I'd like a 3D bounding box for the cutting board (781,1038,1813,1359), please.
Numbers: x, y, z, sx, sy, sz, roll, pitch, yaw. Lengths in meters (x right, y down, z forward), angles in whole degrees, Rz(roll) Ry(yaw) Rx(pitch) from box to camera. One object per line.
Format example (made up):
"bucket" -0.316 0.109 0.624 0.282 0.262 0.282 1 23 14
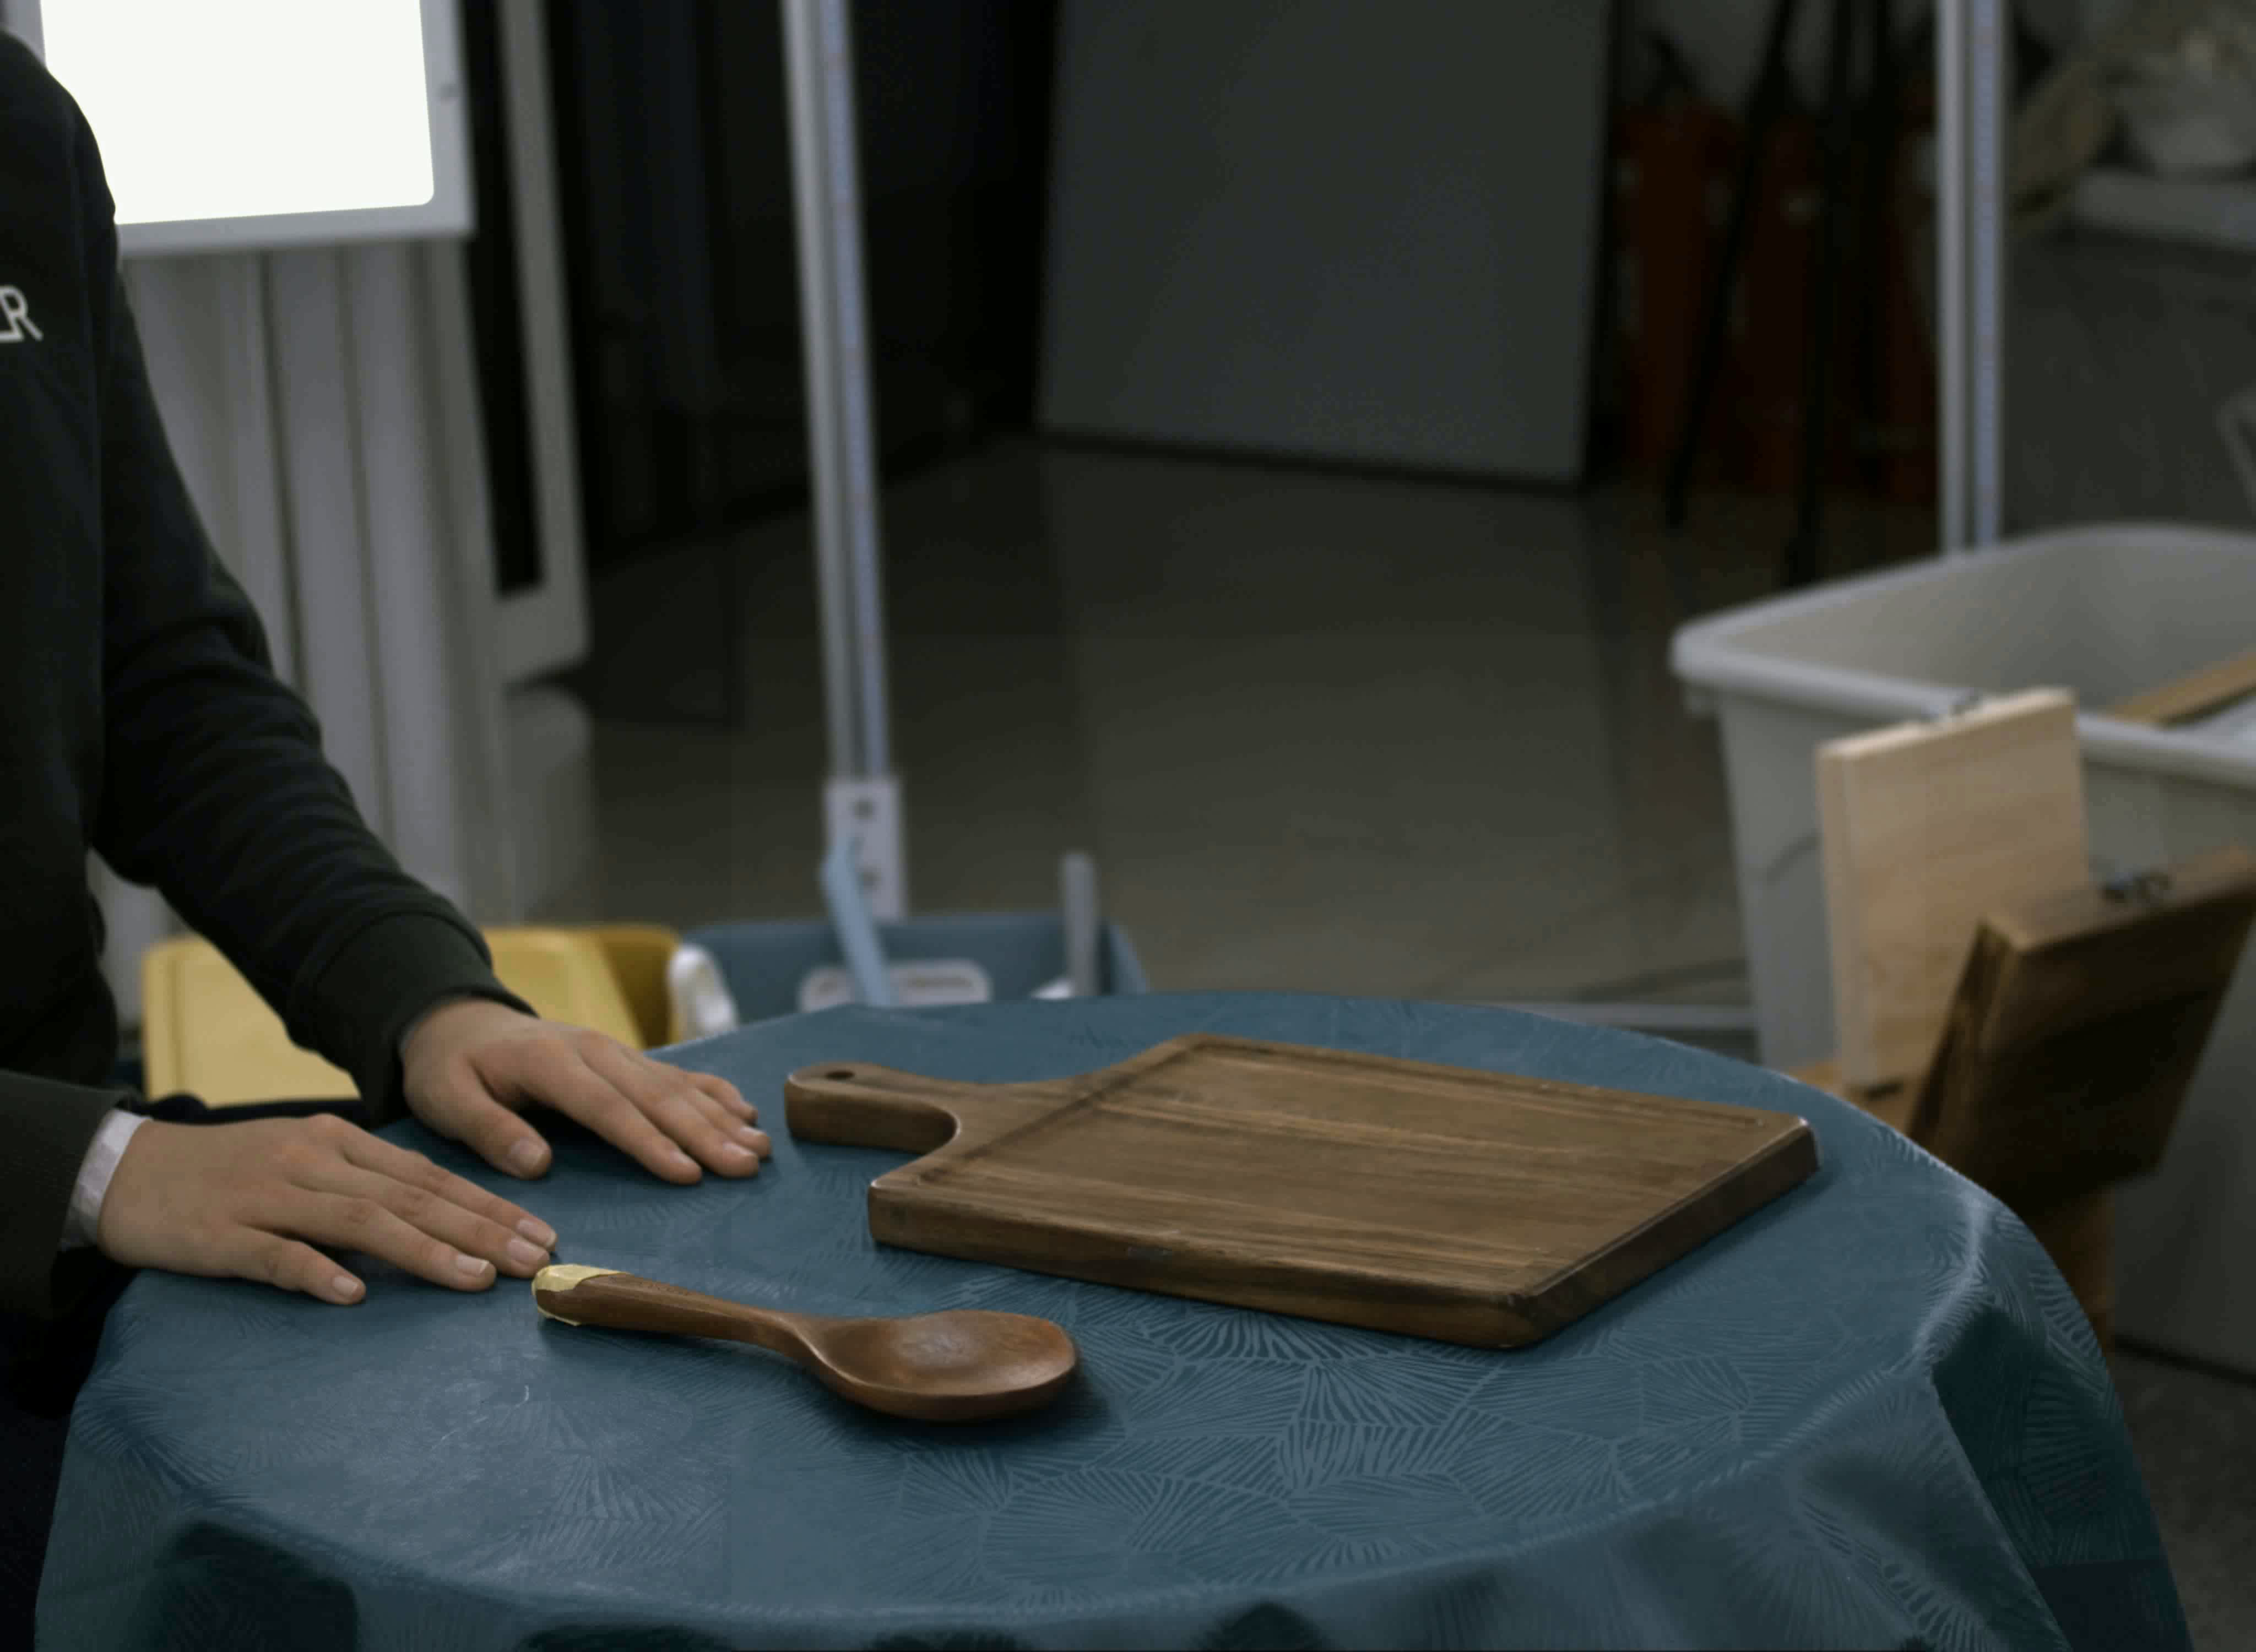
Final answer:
"cutting board" 0.030 0.112 1.765 0.354 0.023 0.197 6 18 35

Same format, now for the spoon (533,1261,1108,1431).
"spoon" -0.097 0.155 1.626 0.217 0.017 0.074 8 20 38
